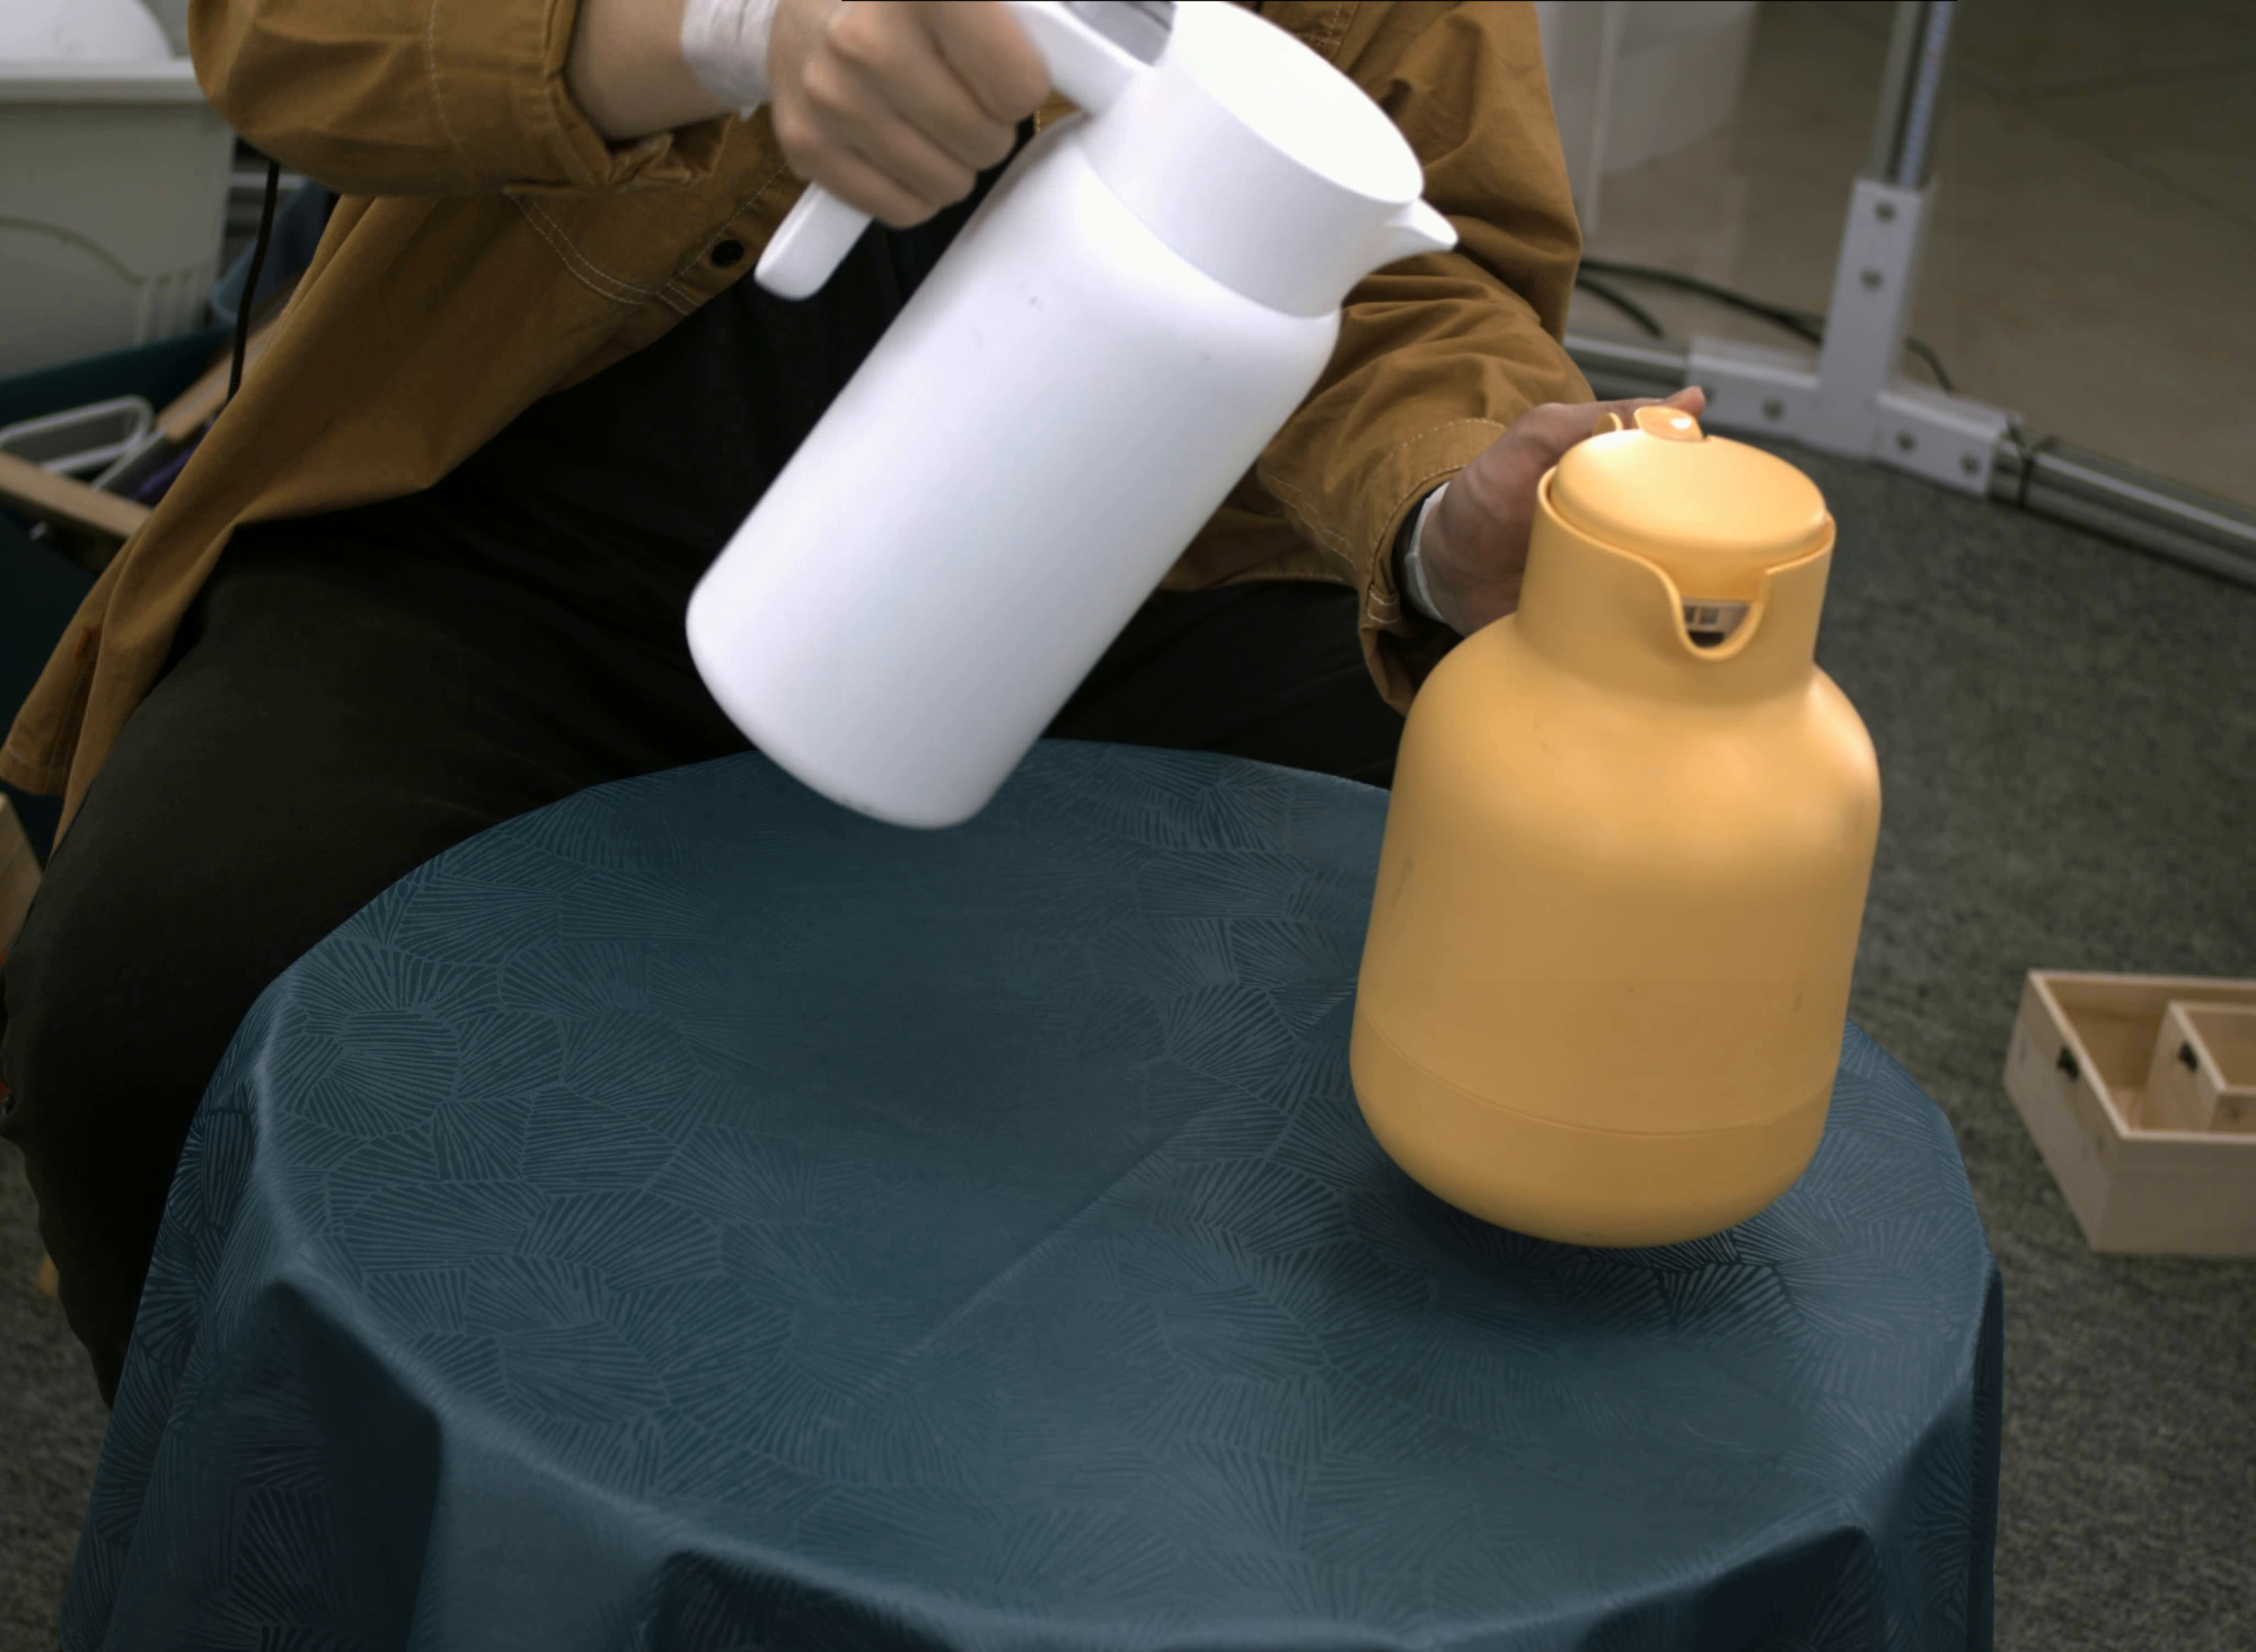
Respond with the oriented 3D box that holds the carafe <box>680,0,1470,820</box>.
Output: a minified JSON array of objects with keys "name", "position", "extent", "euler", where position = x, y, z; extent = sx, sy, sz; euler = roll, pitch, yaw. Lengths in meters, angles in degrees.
[{"name":"carafe","position":[-0.038,-0.141,1.674],"extent":[0.172,0.268,0.124],"euler":[33,26,-14]}]

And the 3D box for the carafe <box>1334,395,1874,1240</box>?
[{"name":"carafe","position":[0.165,-0.012,1.773],"extent":[0.163,0.259,0.203],"euler":[8,27,-4]}]
